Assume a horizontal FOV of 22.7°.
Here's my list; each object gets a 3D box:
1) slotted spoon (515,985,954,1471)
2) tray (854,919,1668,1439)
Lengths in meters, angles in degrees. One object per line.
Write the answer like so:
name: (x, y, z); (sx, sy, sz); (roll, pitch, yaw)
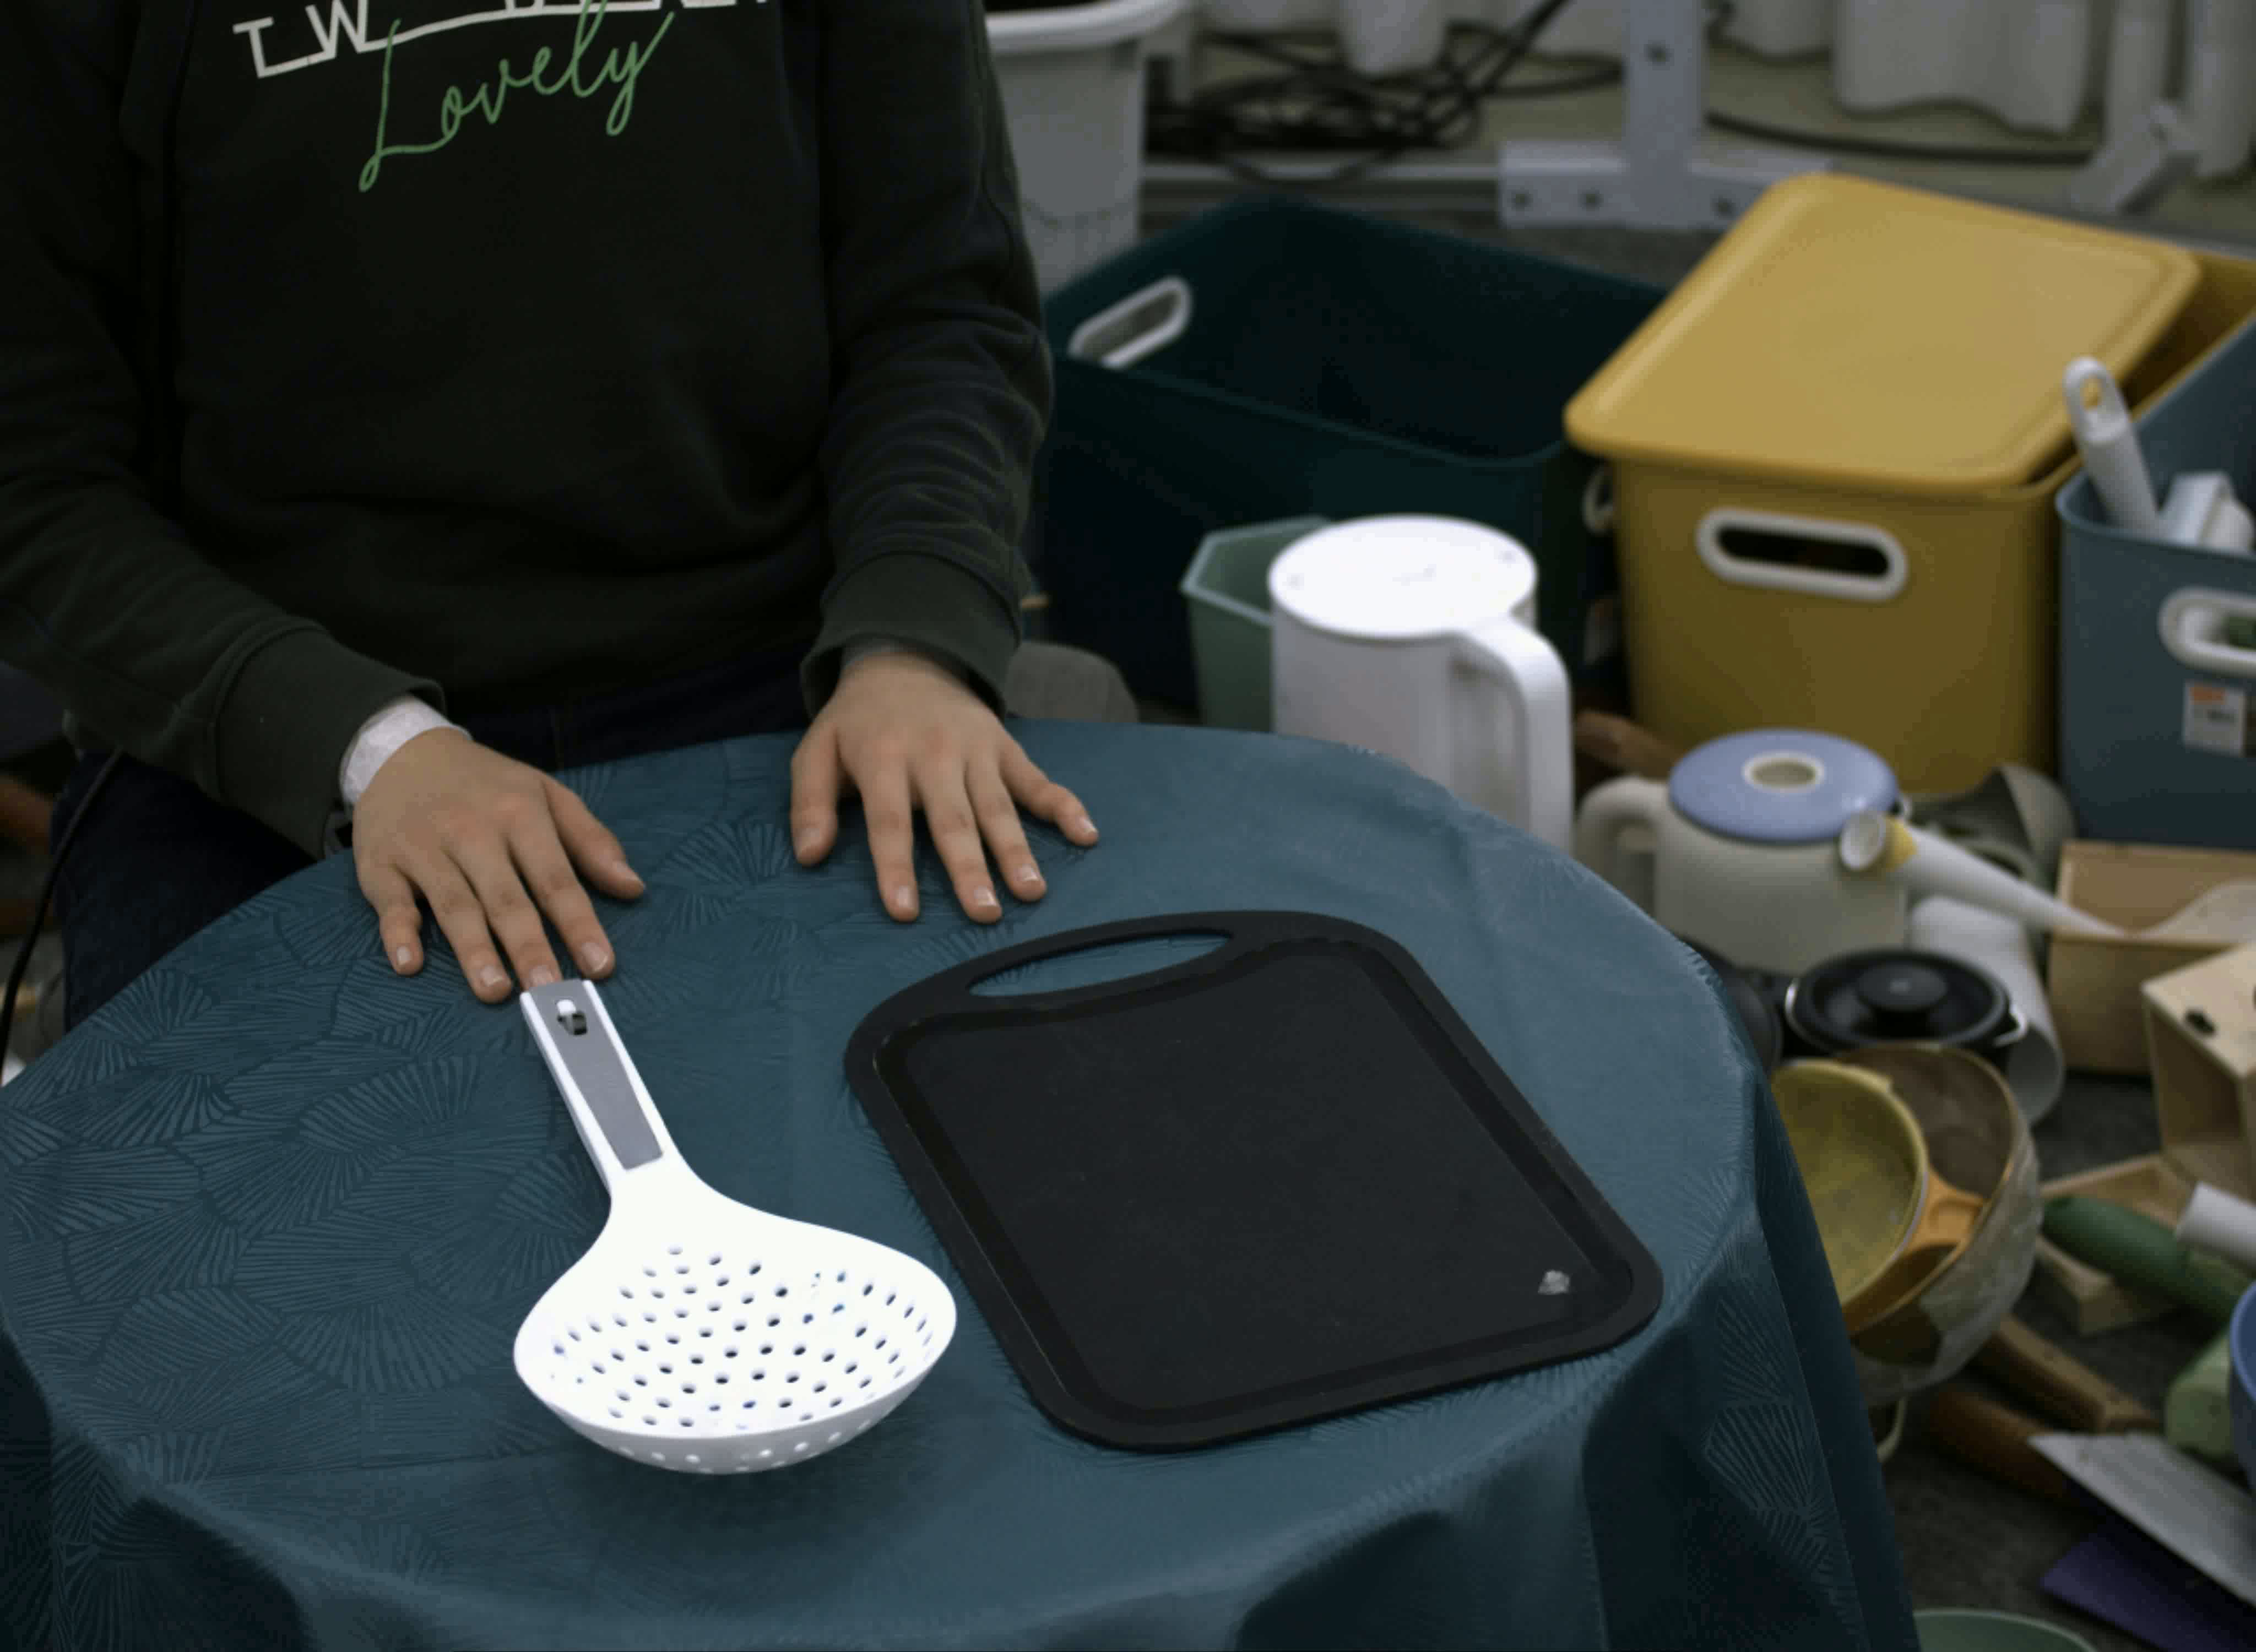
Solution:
slotted spoon: (-0.151, 0.124, 1.823); (0.136, 0.045, 0.353); (-8, 27, -14)
tray: (0.034, 0.108, 1.876); (0.211, 0.009, 0.328); (-10, 28, -15)
